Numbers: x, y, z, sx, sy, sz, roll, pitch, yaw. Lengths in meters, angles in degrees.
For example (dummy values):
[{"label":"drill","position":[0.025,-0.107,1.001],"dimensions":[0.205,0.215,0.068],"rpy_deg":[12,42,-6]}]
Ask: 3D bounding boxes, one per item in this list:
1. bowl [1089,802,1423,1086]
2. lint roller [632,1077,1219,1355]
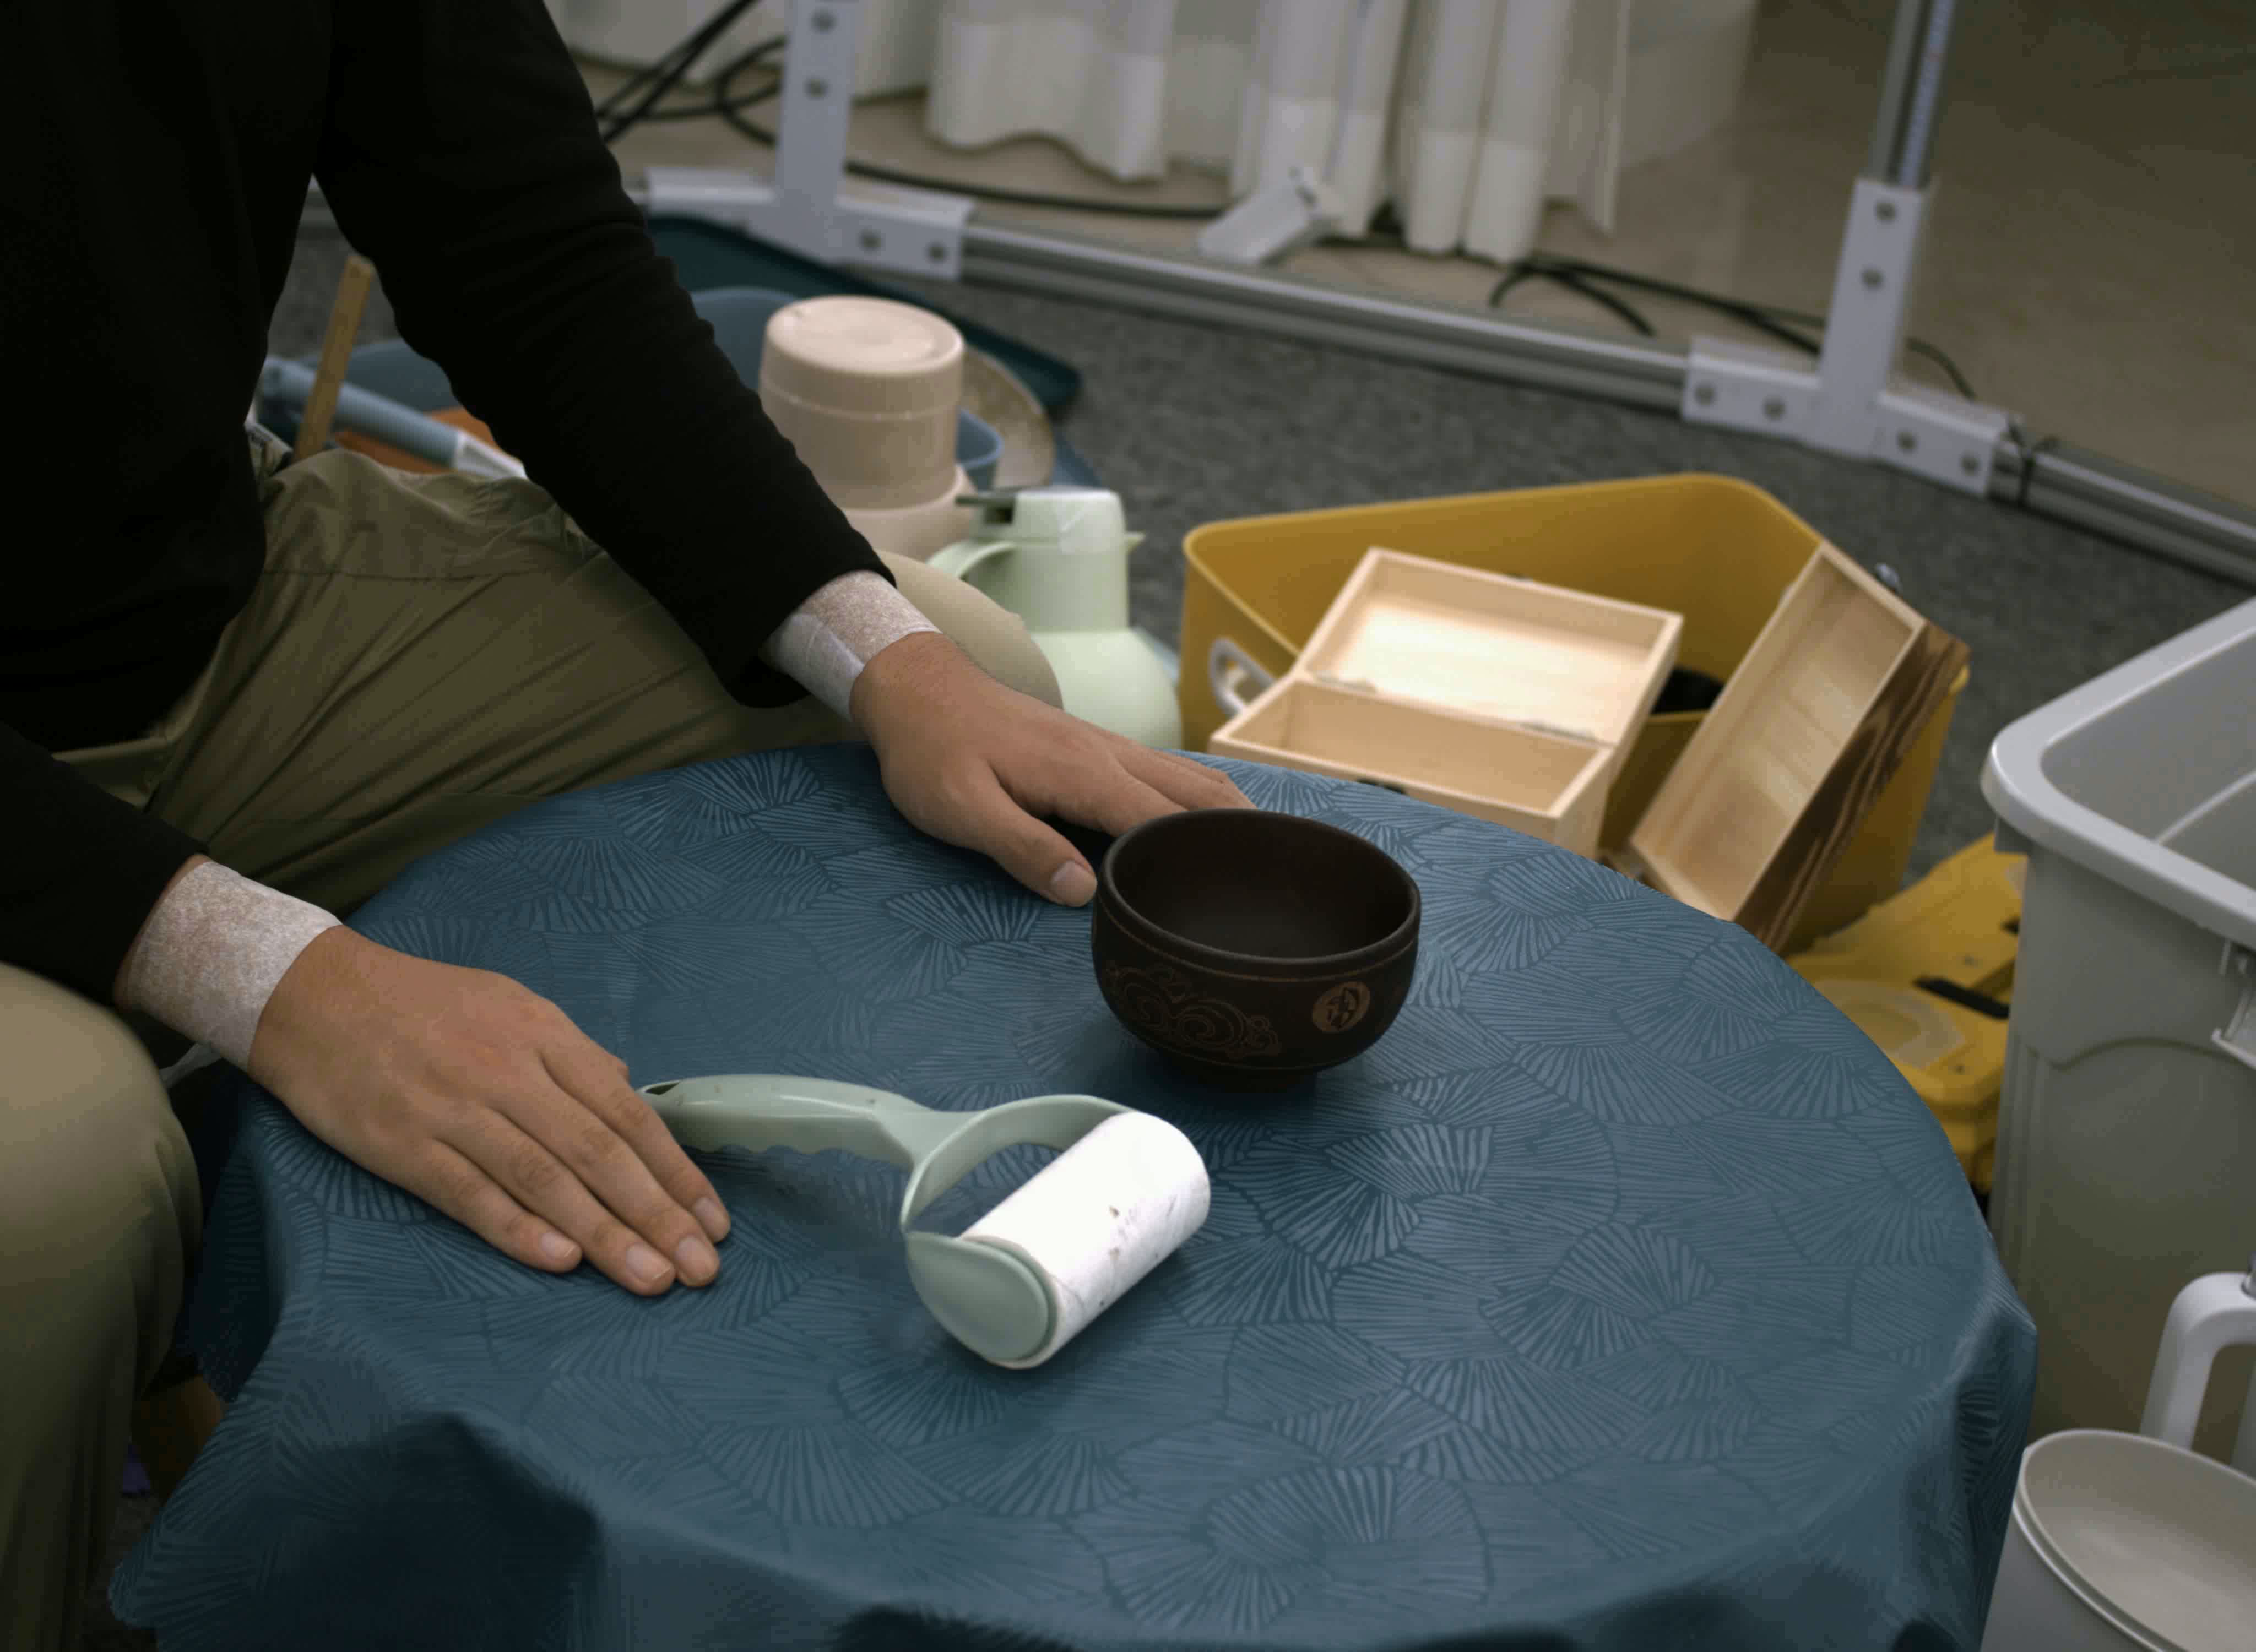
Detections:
[{"label":"bowl","position":[0.044,0.048,1.880],"dimensions":[0.117,0.069,0.119],"rpy_deg":[4,27,-2]},{"label":"lint roller","position":[-0.077,0.110,1.763],"dimensions":[0.198,0.048,0.116],"rpy_deg":[18,30,24]}]
